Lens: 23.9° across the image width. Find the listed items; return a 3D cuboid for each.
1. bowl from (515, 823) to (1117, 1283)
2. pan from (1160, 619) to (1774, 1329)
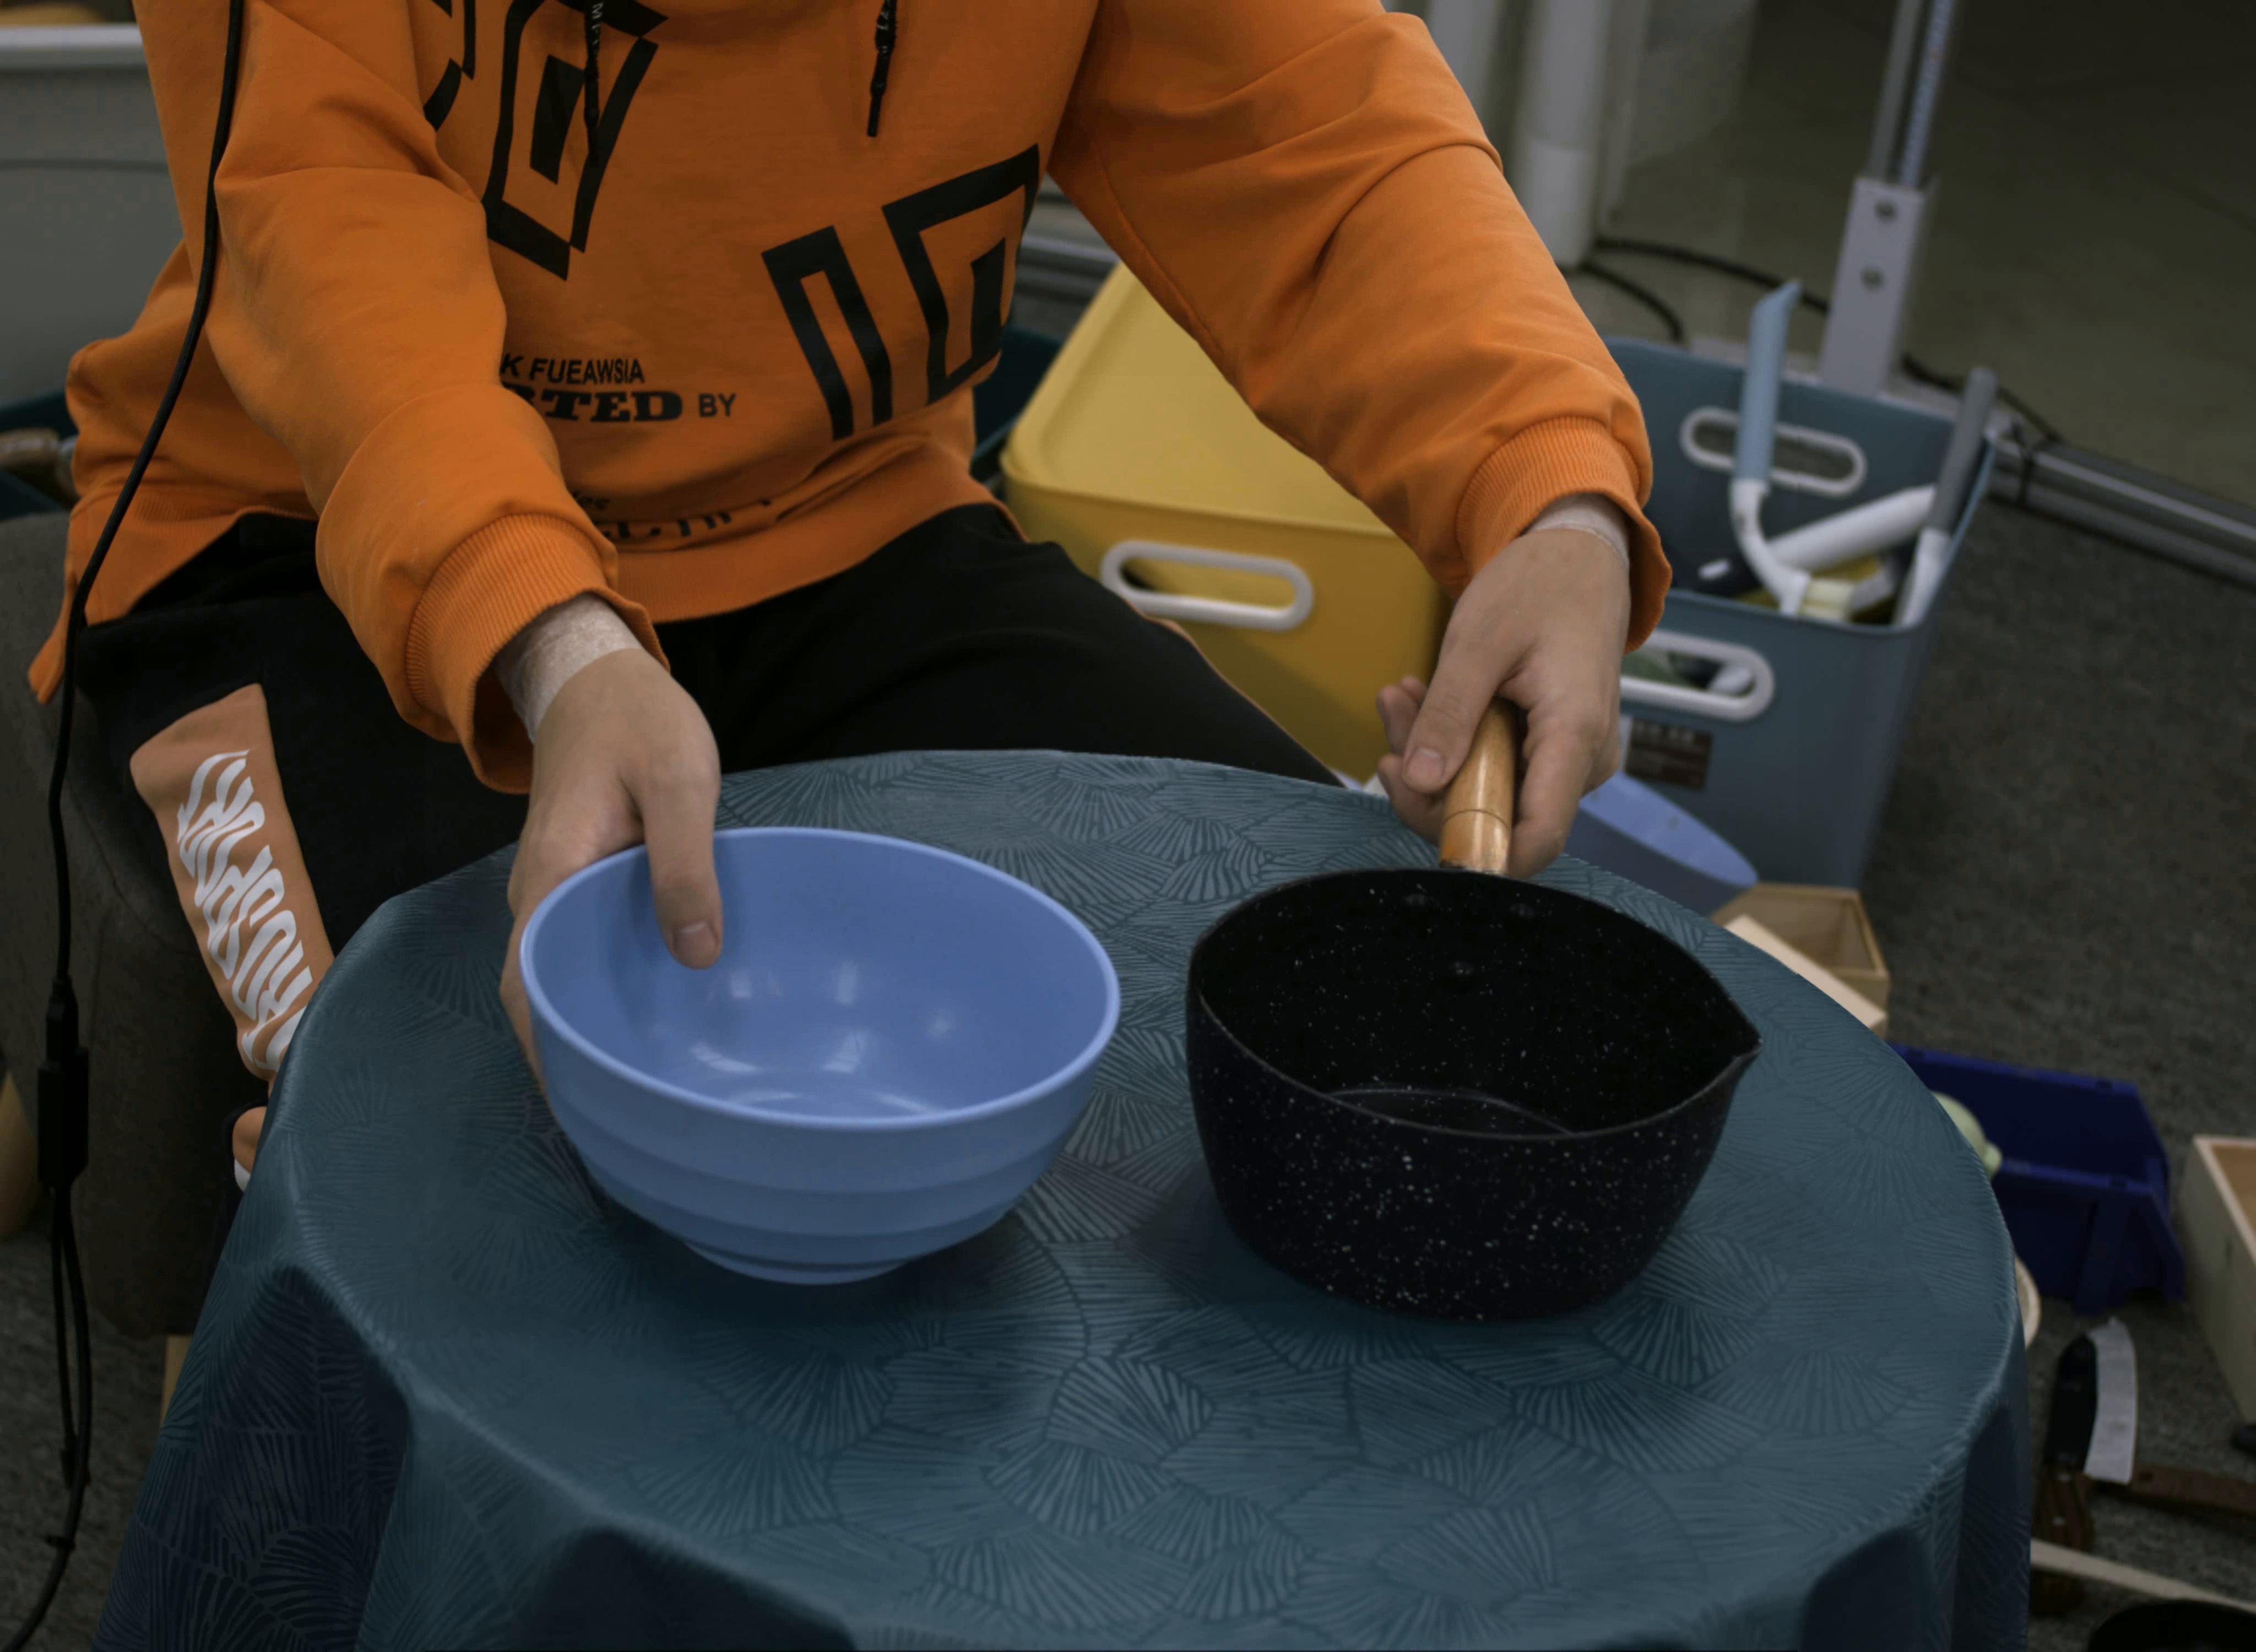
[{"bbox_3d":[-0.105,0.086,1.747,0.196,0.095,0.198,5,28,-3],"label":"bowl"},{"bbox_3d":[0.116,0.047,1.859,0.207,0.108,0.344,6,28,2],"label":"pan"}]
